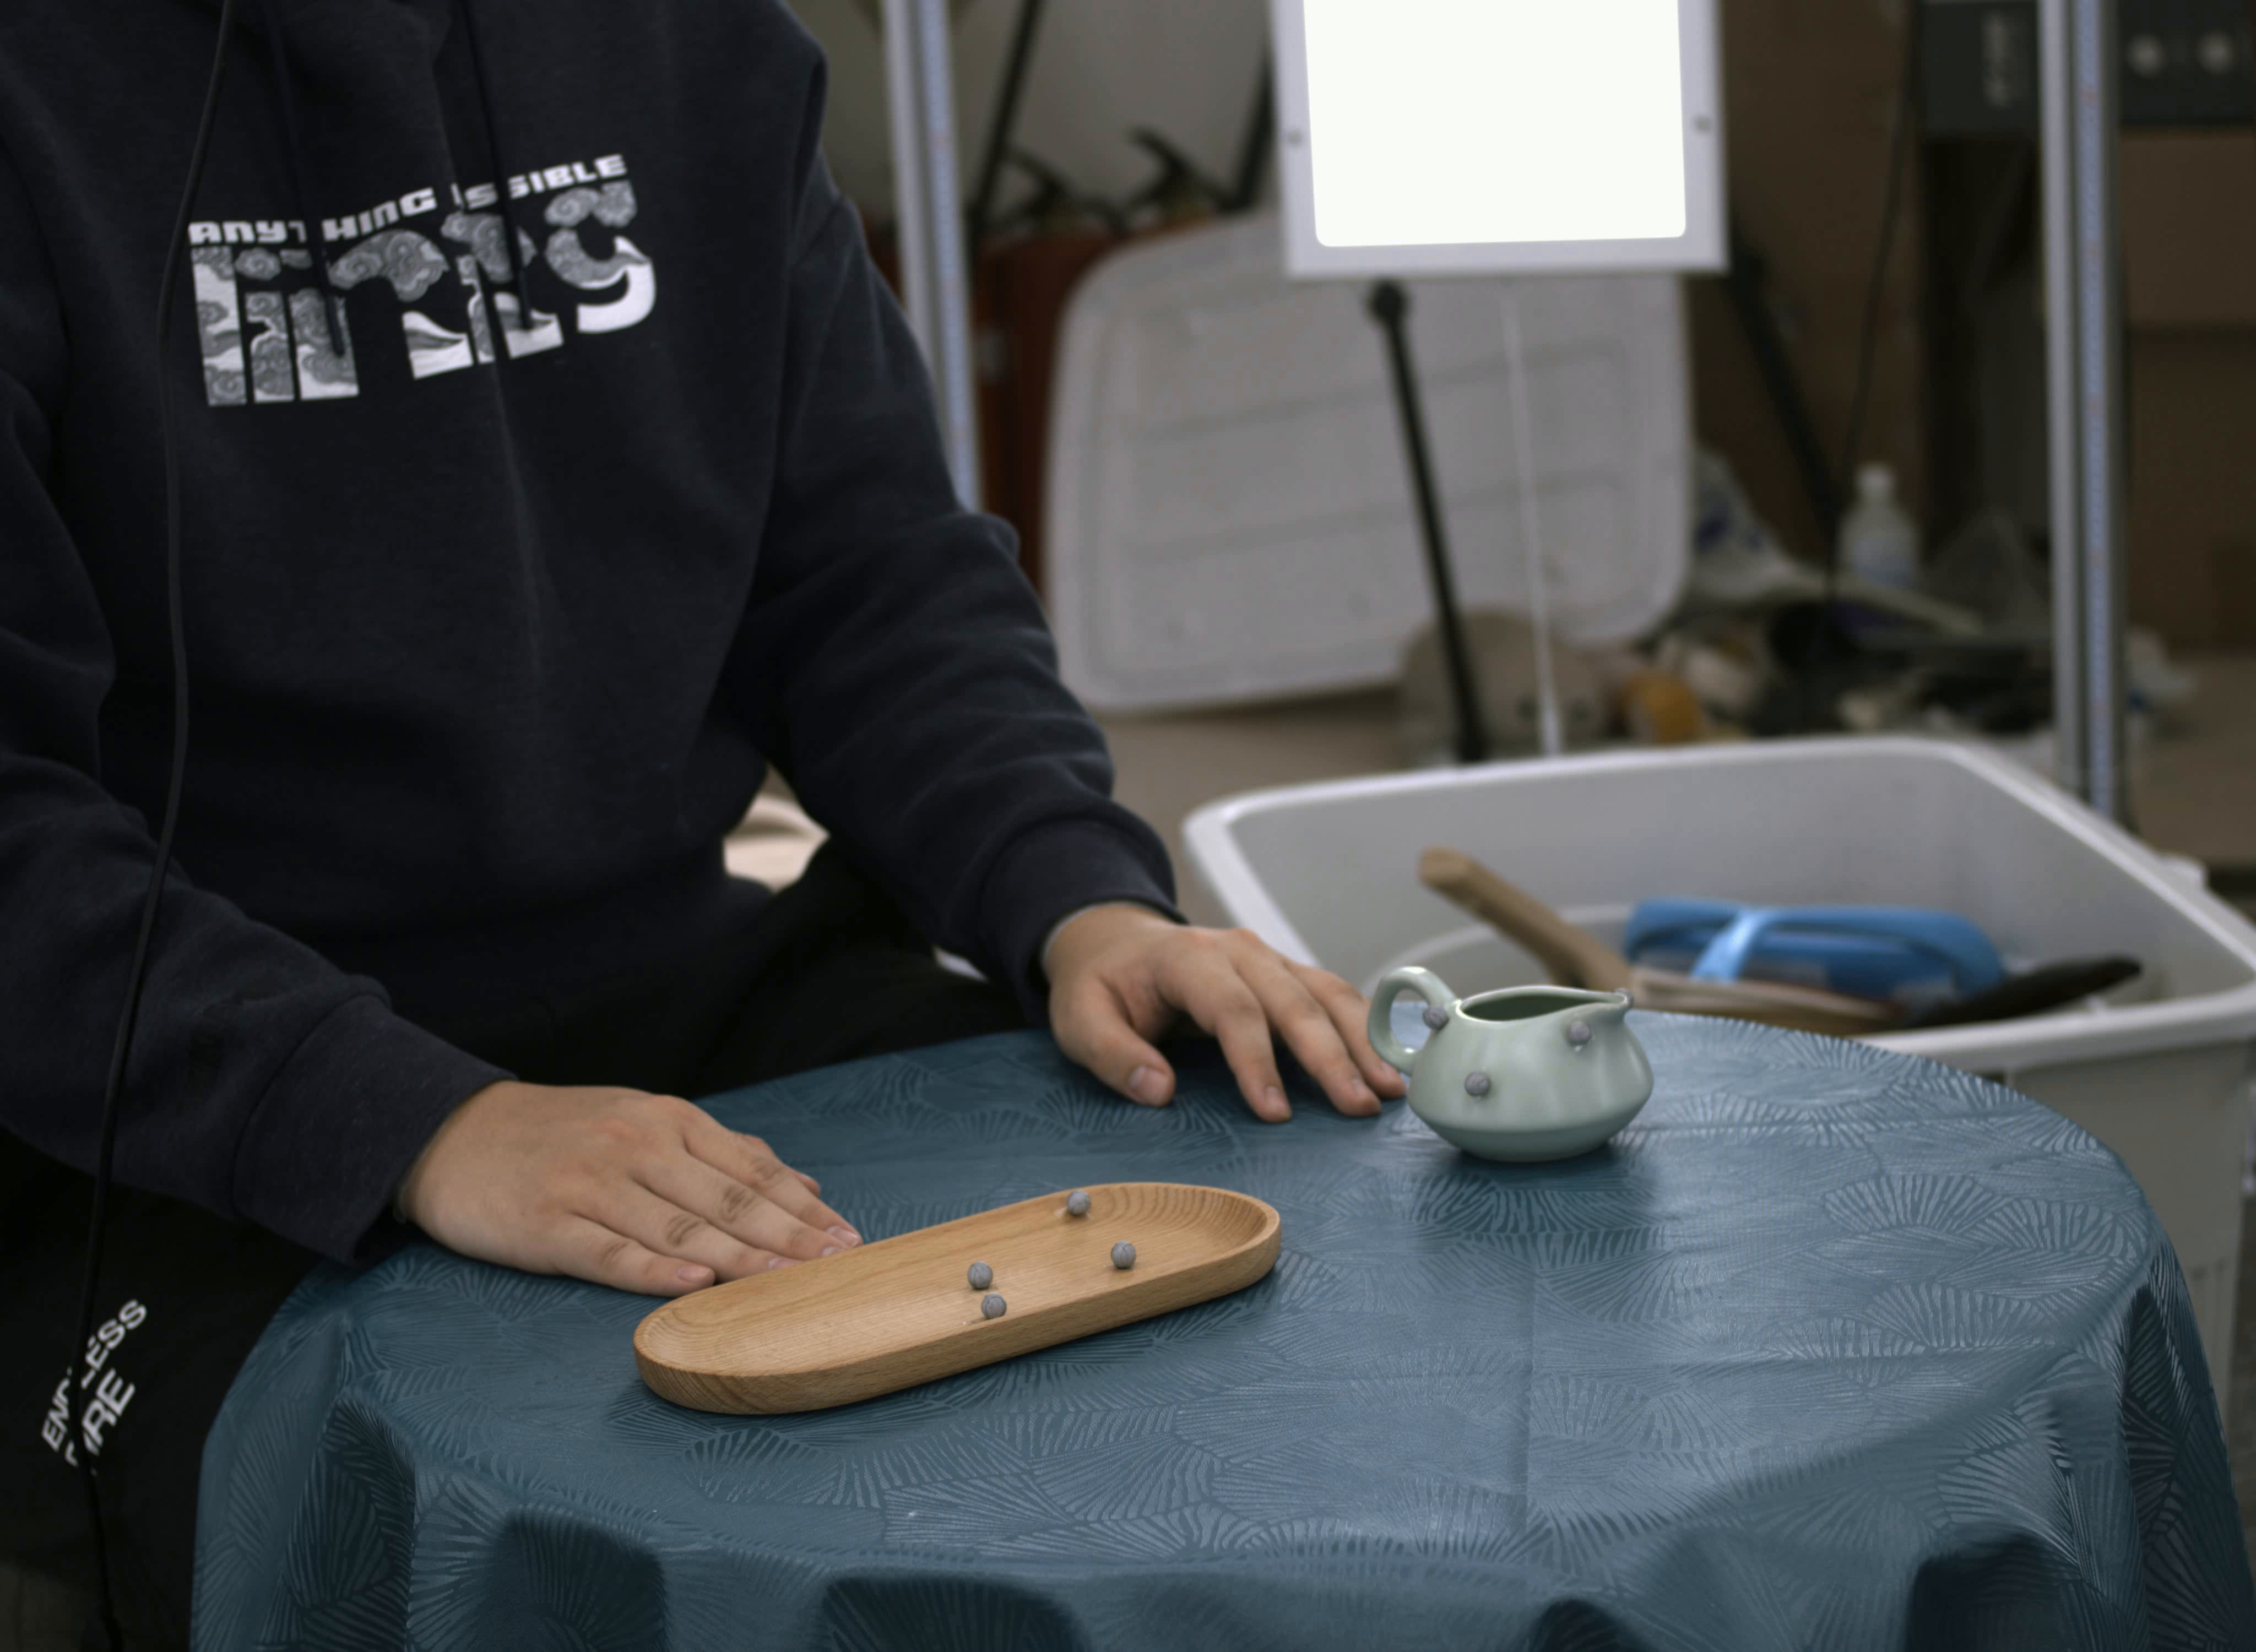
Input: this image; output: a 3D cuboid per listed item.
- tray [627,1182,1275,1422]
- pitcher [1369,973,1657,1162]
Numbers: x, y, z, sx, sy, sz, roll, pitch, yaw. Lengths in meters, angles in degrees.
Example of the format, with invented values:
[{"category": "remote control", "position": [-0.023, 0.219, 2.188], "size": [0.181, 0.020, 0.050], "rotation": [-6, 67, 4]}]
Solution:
[{"category": "tray", "position": [-0.054, 0.152, 1.778], "size": [0.226, 0.020, 0.104], "rotation": [-16, 16, -31]}, {"category": "pitcher", "position": [0.131, 0.083, 1.916], "size": [0.110, 0.060, 0.084], "rotation": [2, 14, 36]}]
